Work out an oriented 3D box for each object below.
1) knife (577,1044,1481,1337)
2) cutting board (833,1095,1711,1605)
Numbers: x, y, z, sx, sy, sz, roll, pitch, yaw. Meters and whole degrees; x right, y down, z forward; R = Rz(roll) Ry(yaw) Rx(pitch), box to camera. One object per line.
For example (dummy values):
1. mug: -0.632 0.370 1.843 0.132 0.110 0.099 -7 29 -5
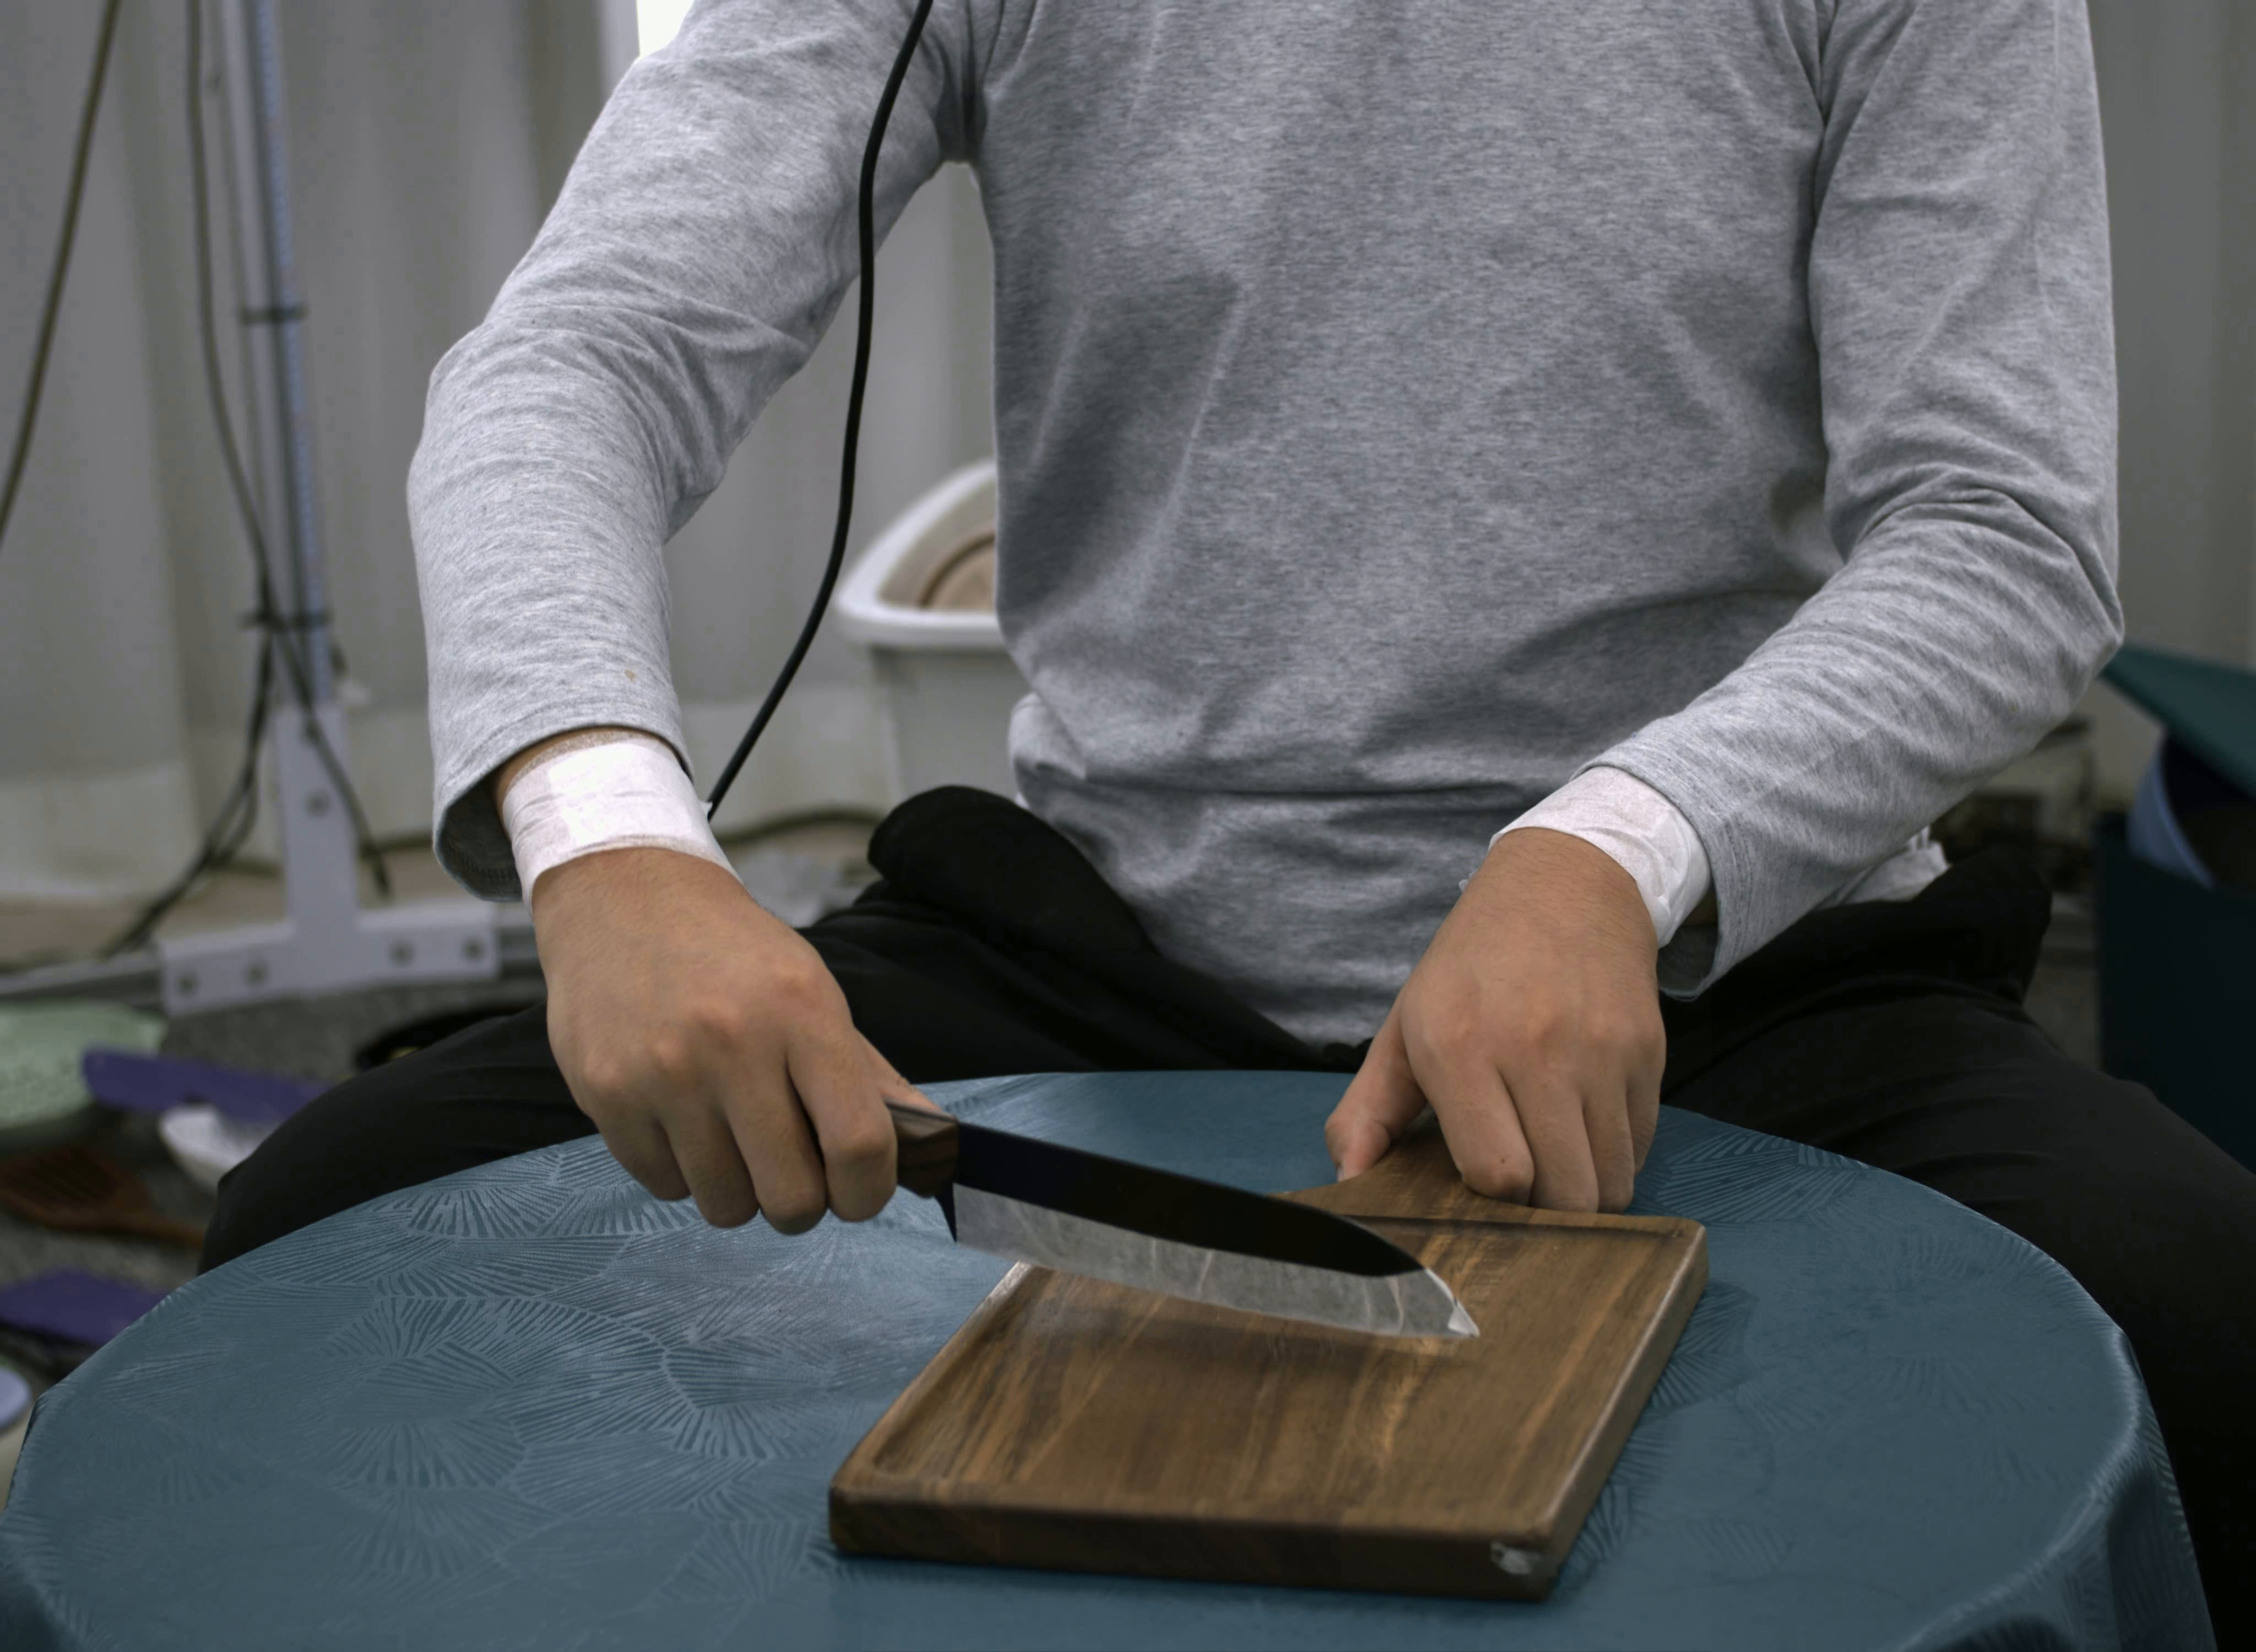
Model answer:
1. knife: -0.031 0.105 1.568 0.290 0.050 0.020 14 36 23
2. cutting board: 0.060 0.141 1.569 0.201 0.023 0.353 2 16 16
